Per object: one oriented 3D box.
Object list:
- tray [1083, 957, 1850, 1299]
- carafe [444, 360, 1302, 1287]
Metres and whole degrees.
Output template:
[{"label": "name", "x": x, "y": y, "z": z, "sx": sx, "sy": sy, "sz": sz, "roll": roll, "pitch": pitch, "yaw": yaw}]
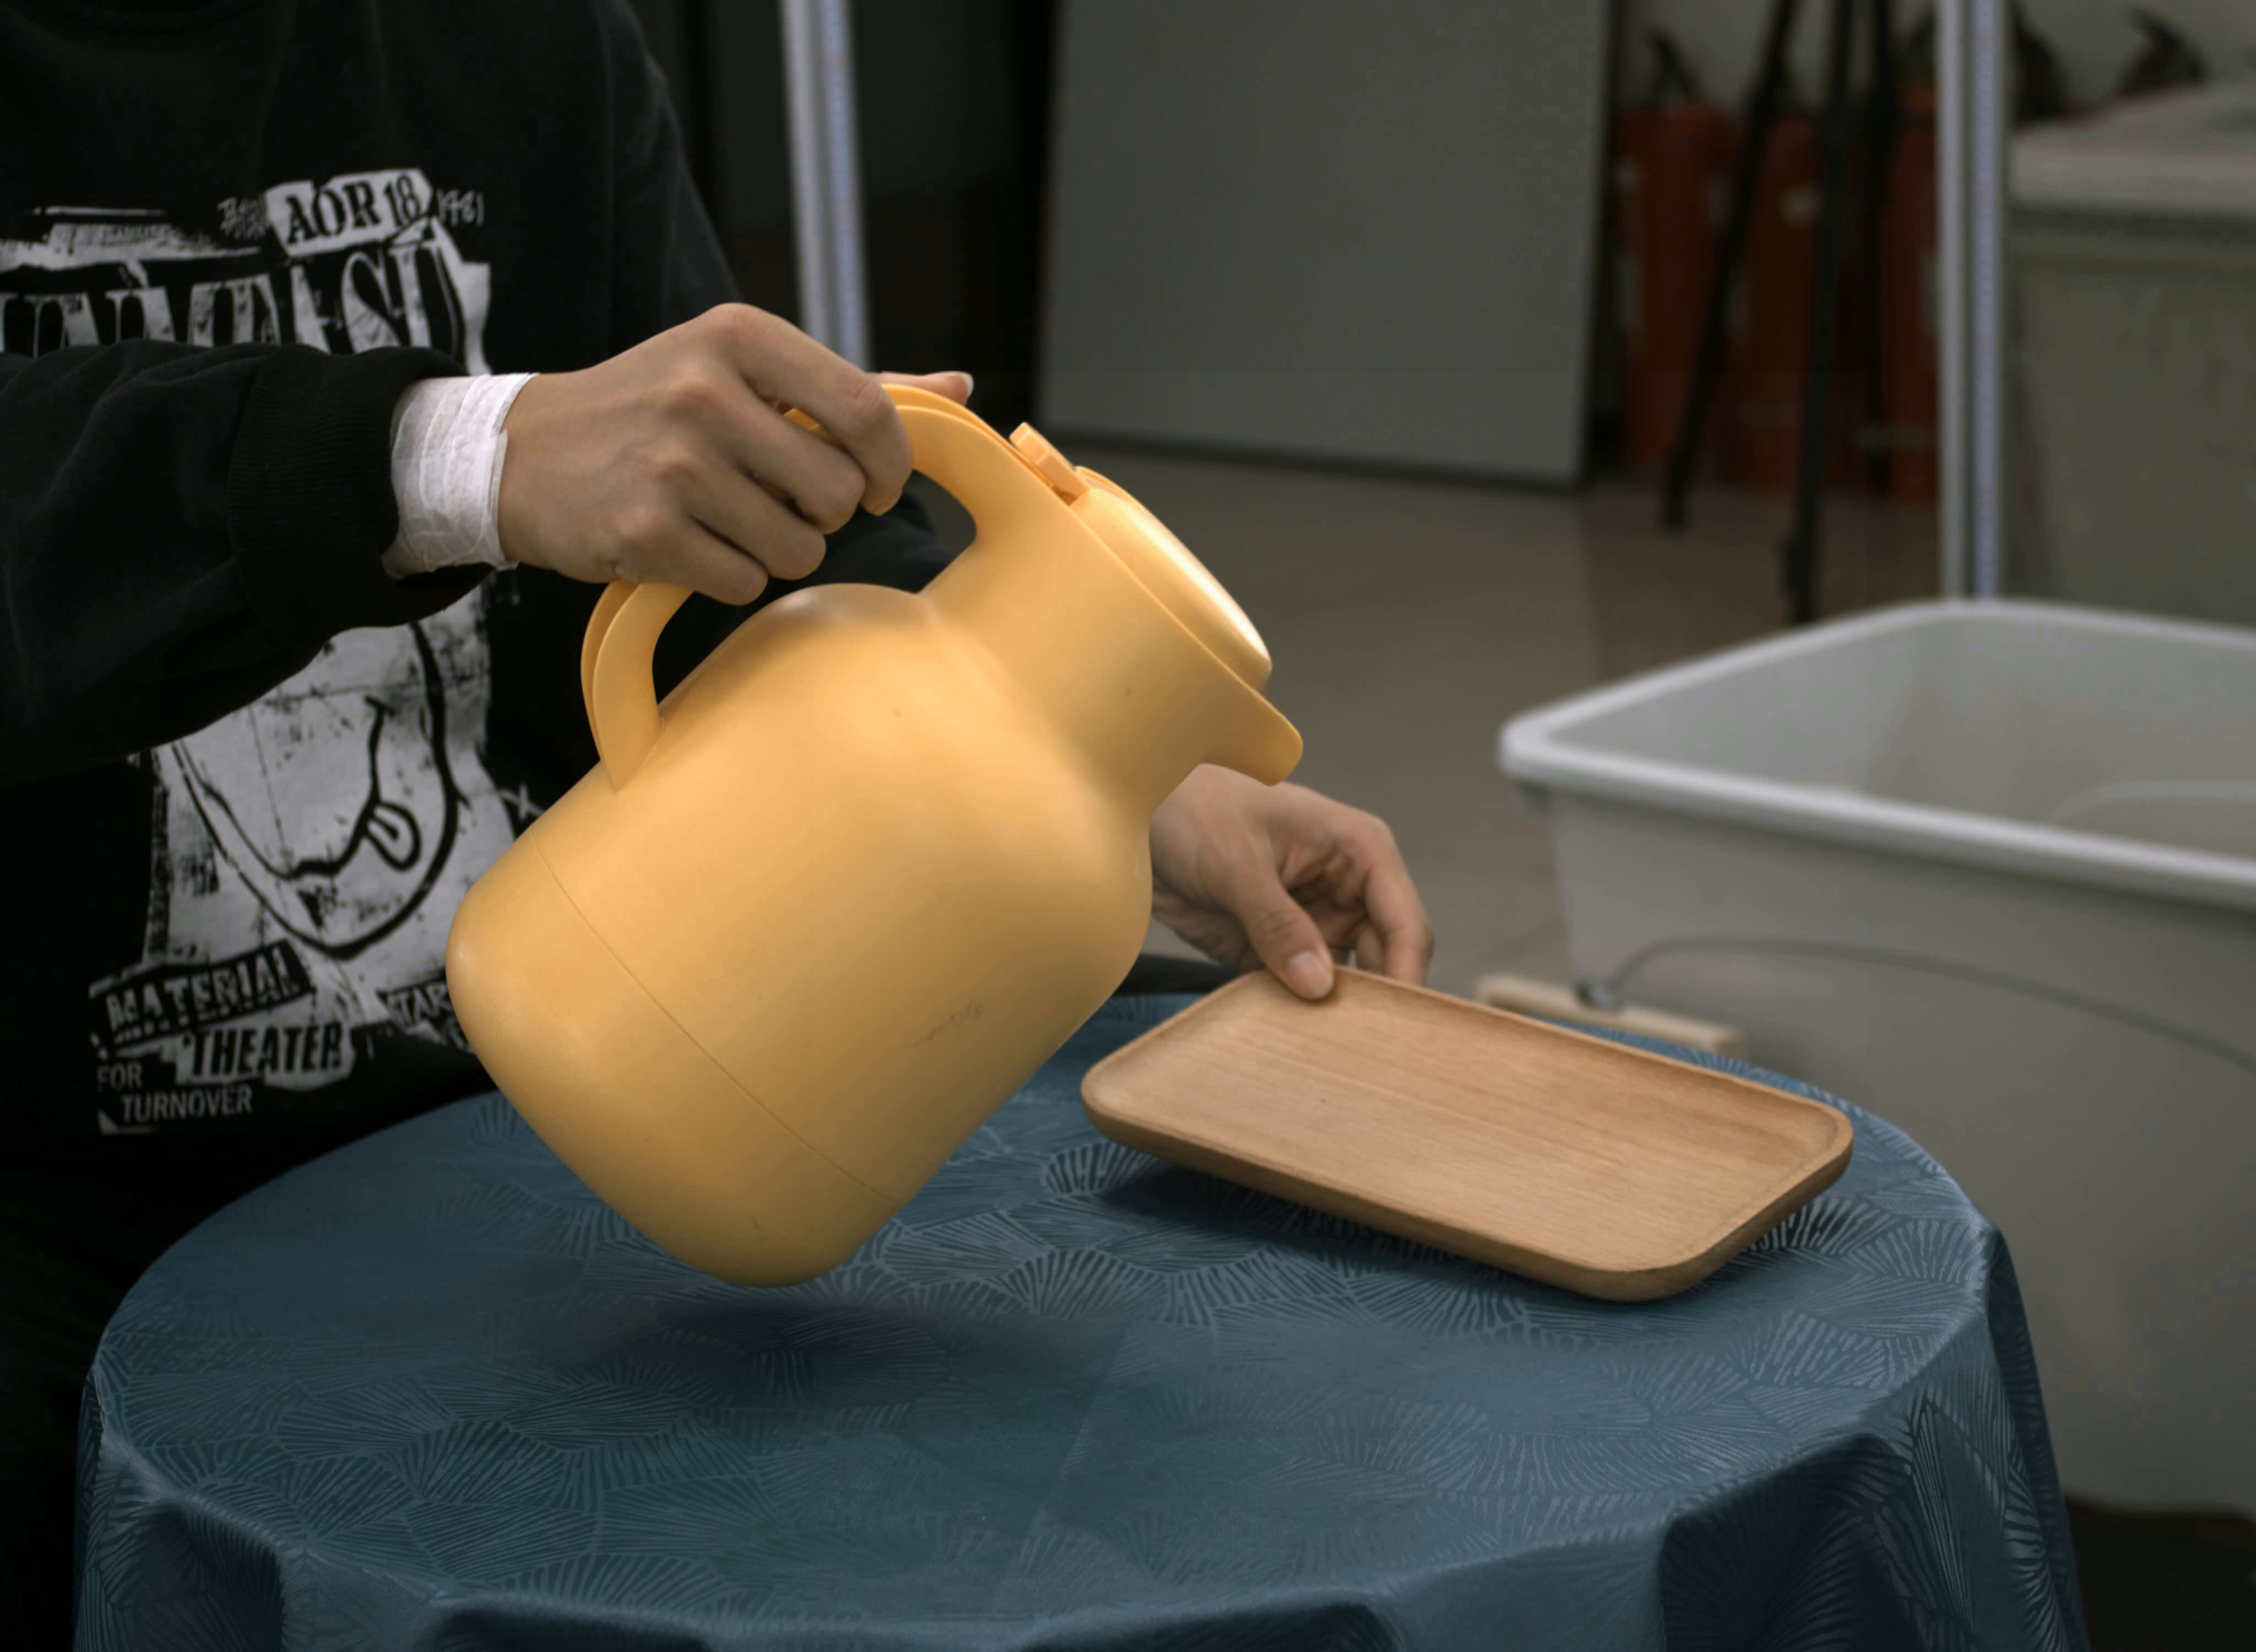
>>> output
[{"label": "tray", "x": 0.107, "y": 0.095, "z": 1.738, "sx": 0.253, "sy": 0.023, "sz": 0.128, "roll": 14, "pitch": 30, "yaw": 43}, {"label": "carafe", "x": -0.086, "y": -0.009, "z": 1.629, "sx": 0.260, "sy": 0.201, "sz": 0.164, "roll": -44, "pitch": 19, "yaw": 3}]
